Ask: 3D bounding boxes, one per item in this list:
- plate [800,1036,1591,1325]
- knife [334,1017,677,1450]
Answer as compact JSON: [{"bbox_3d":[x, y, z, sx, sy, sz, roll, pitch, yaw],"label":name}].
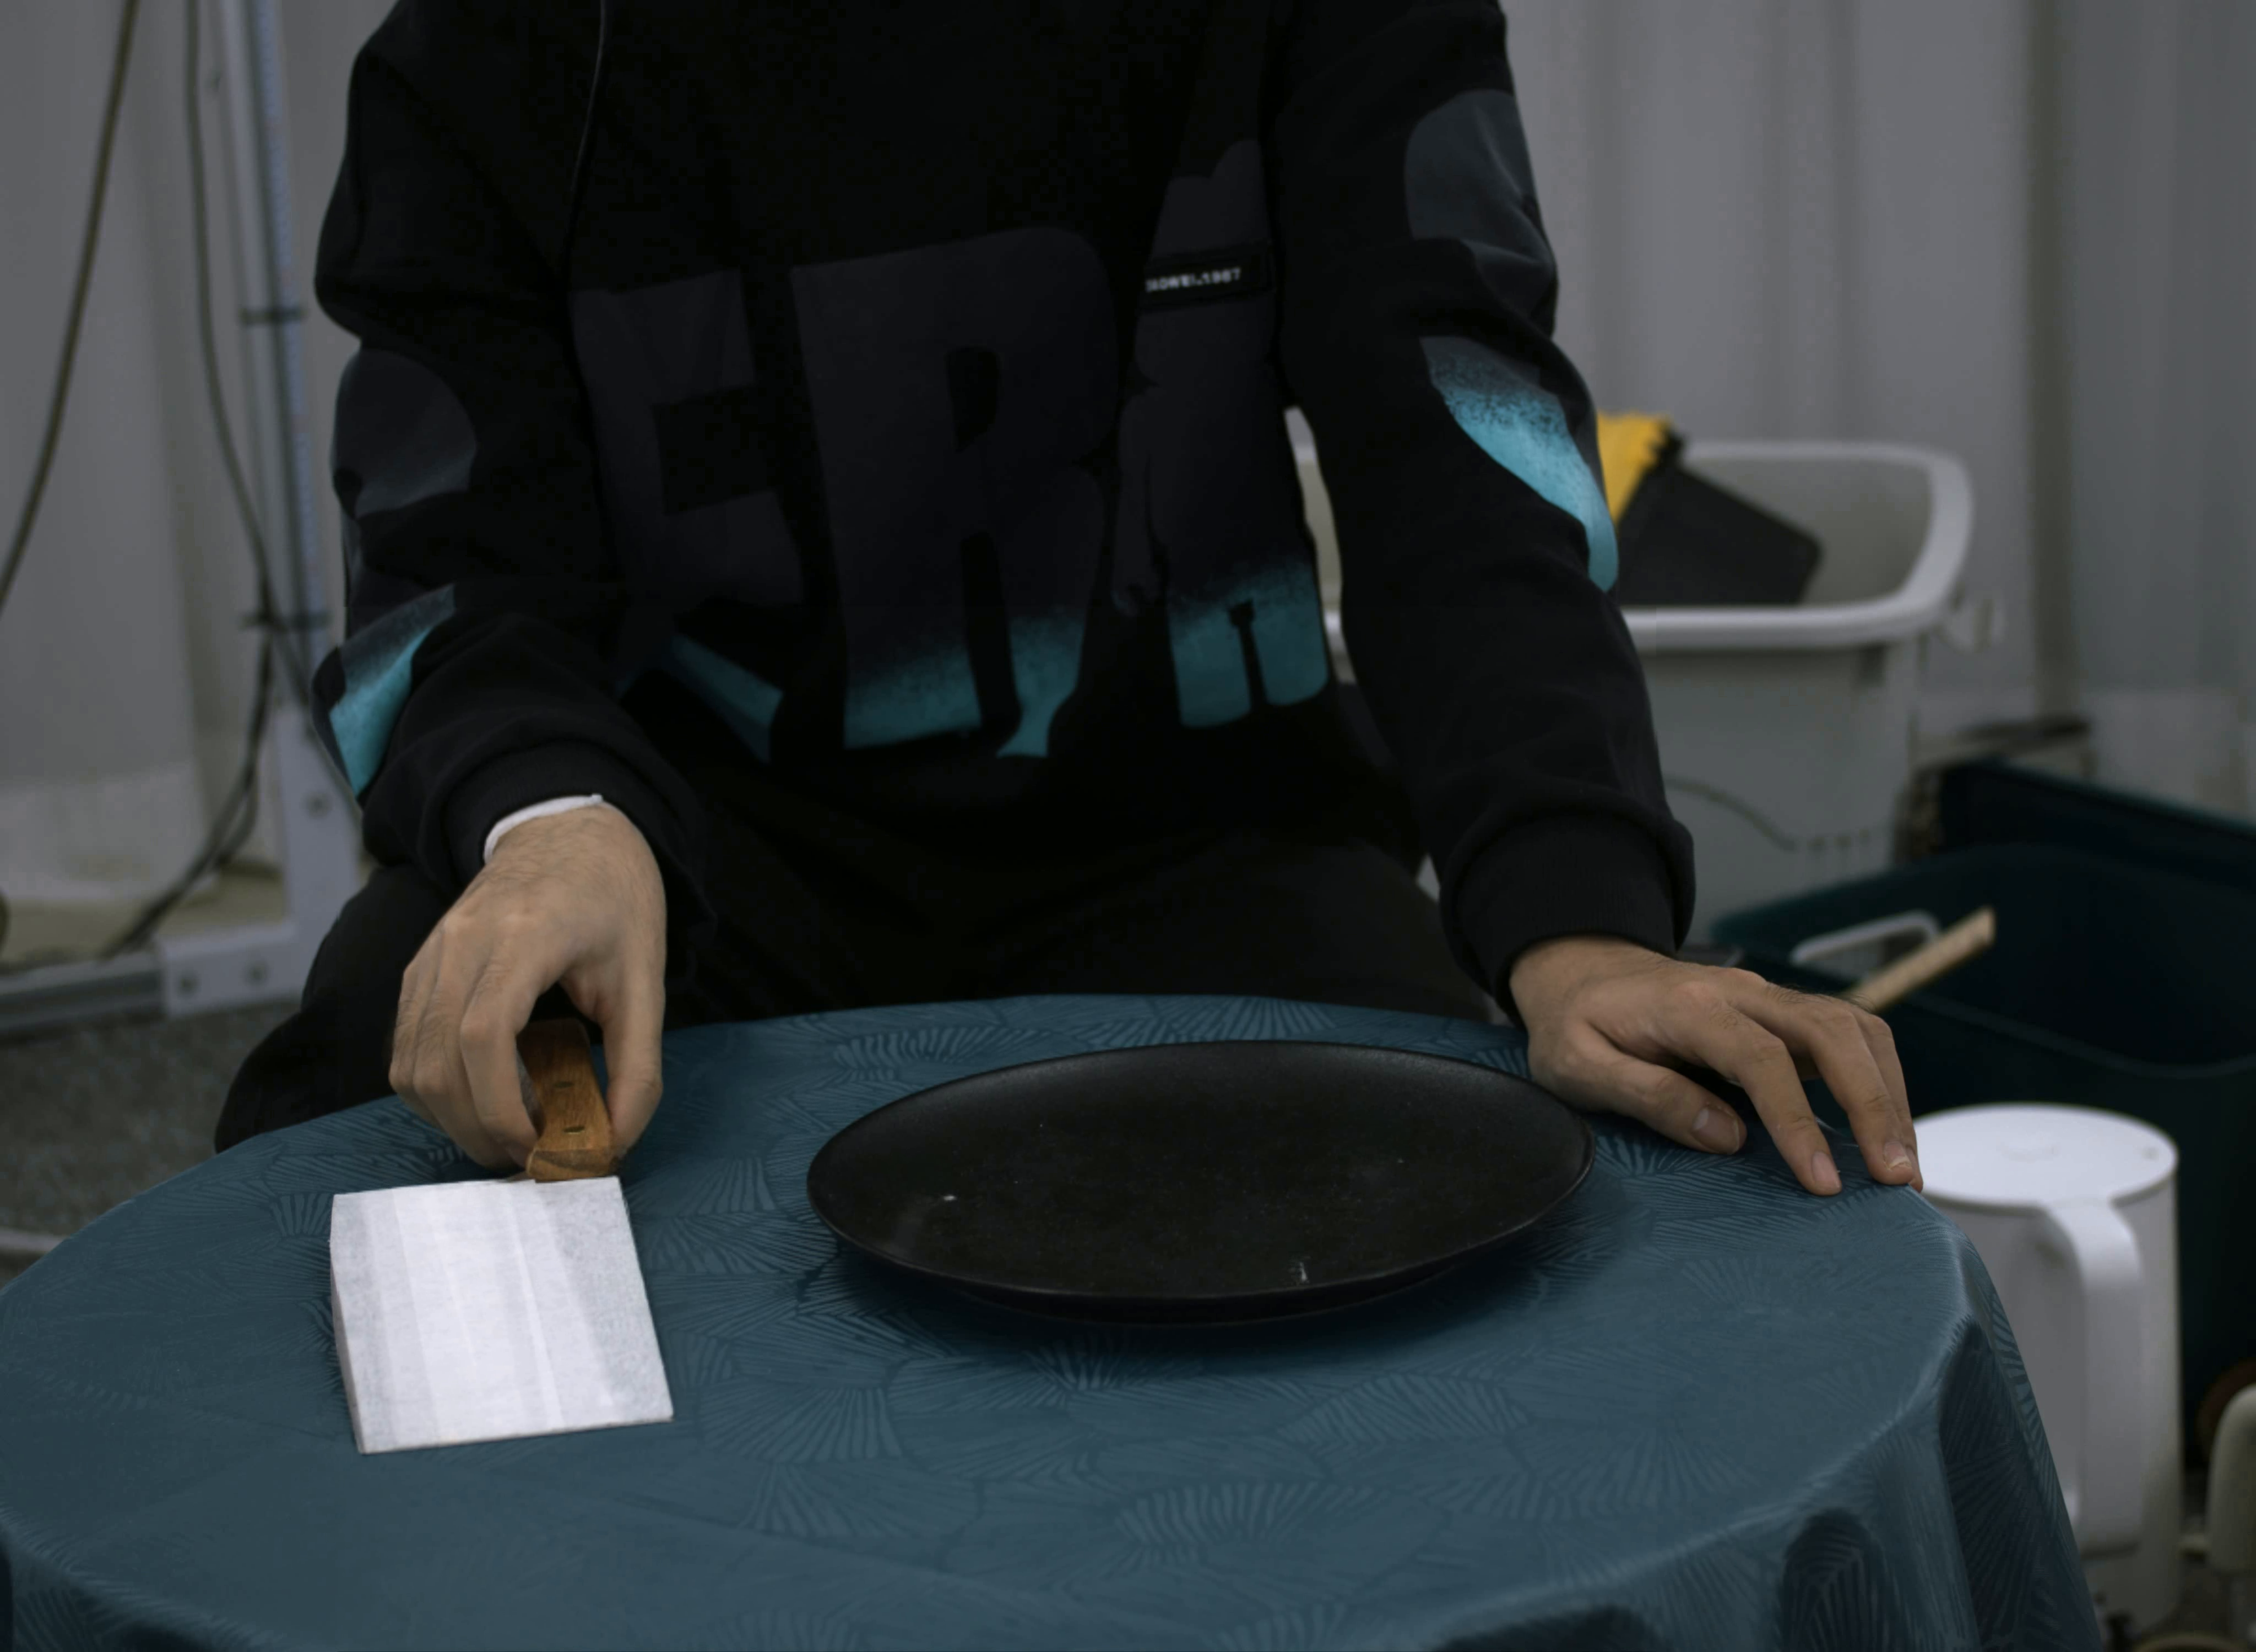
[{"bbox_3d":[0.021,0.111,1.677,0.243,0.023,0.246,-3,15,1],"label":"plate"},{"bbox_3d":[-0.196,0.123,1.677,0.092,0.021,0.309,-6,19,-8],"label":"knife"}]
